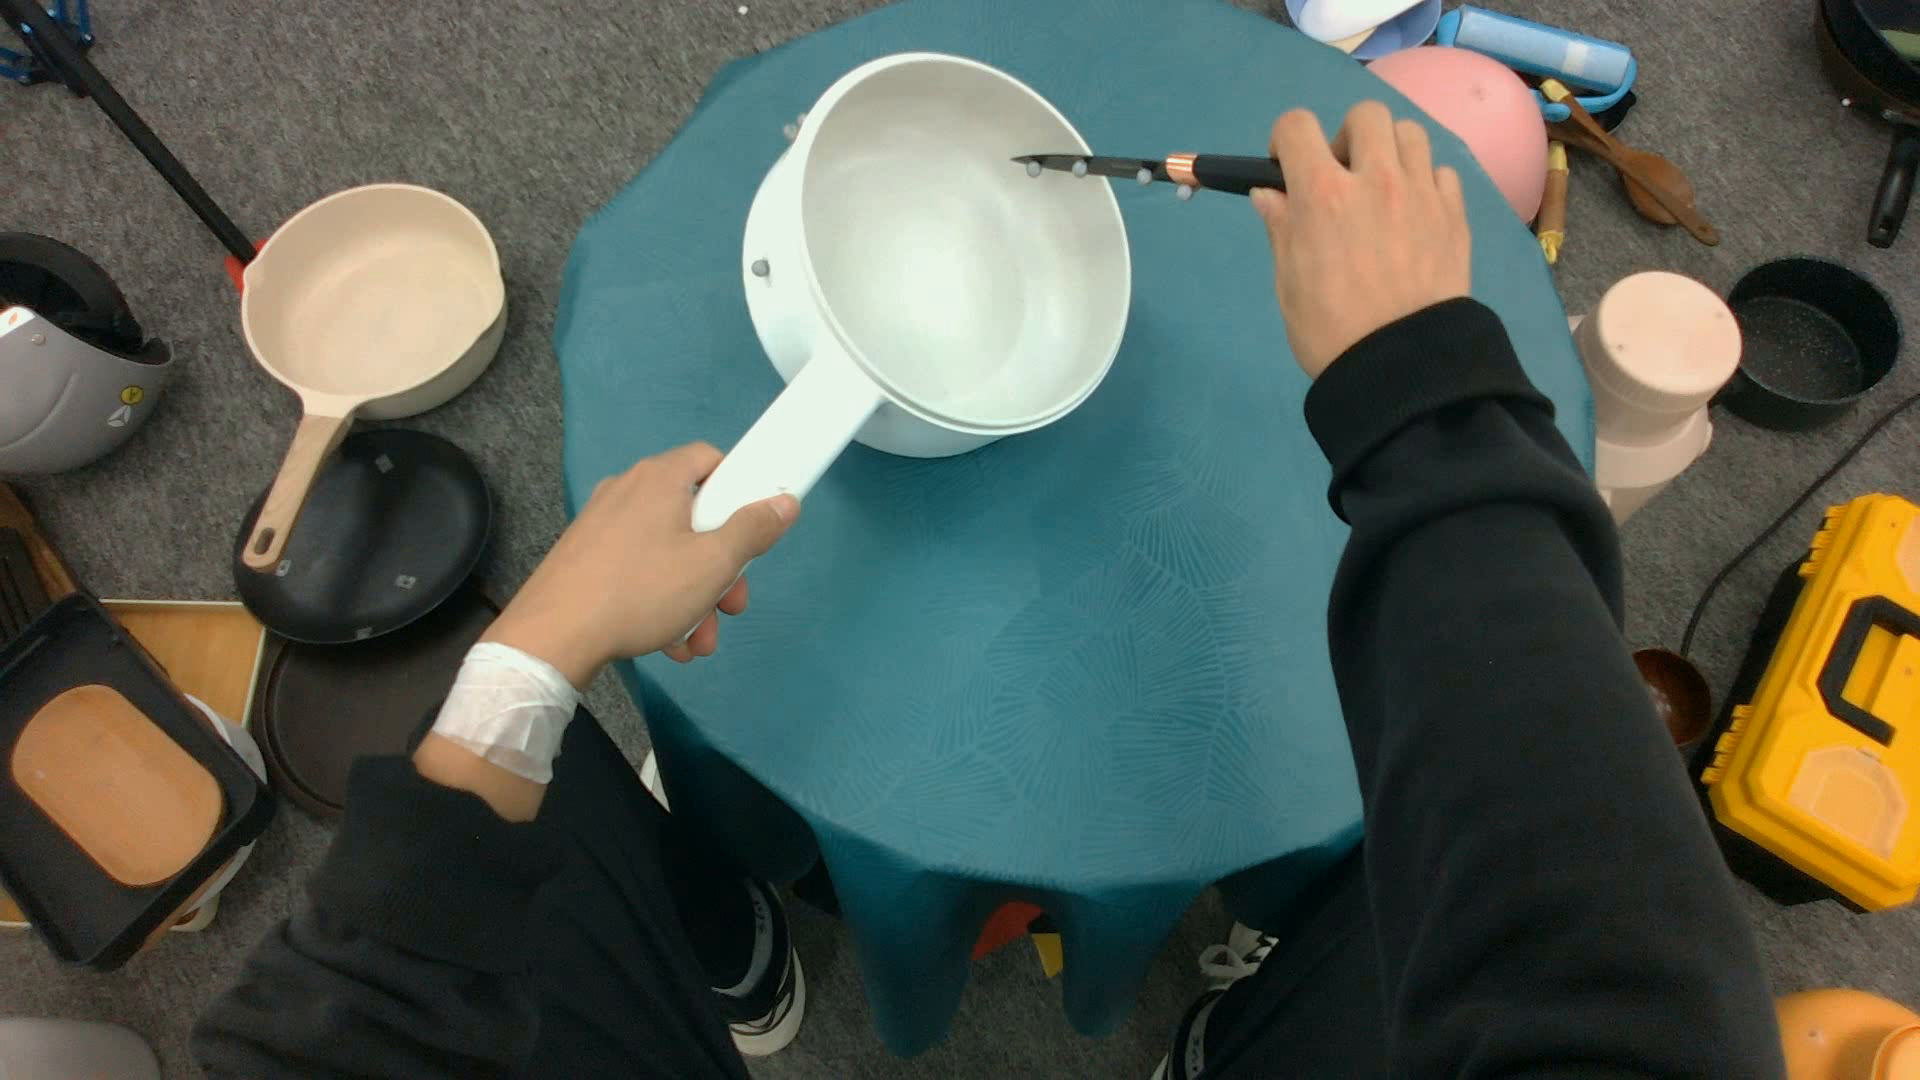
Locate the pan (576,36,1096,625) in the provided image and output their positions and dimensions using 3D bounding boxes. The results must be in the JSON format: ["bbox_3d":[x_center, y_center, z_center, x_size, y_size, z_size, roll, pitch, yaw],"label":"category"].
[{"bbox_3d":[-0.074,-0.099,0.708,0.201,0.102,0.356,44,63,-18],"label":"pan"}]

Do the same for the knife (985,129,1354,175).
[{"bbox_3d":[0.094,-0.196,0.692,0.225,0.026,0.017,16,87,39],"label":"knife"}]
